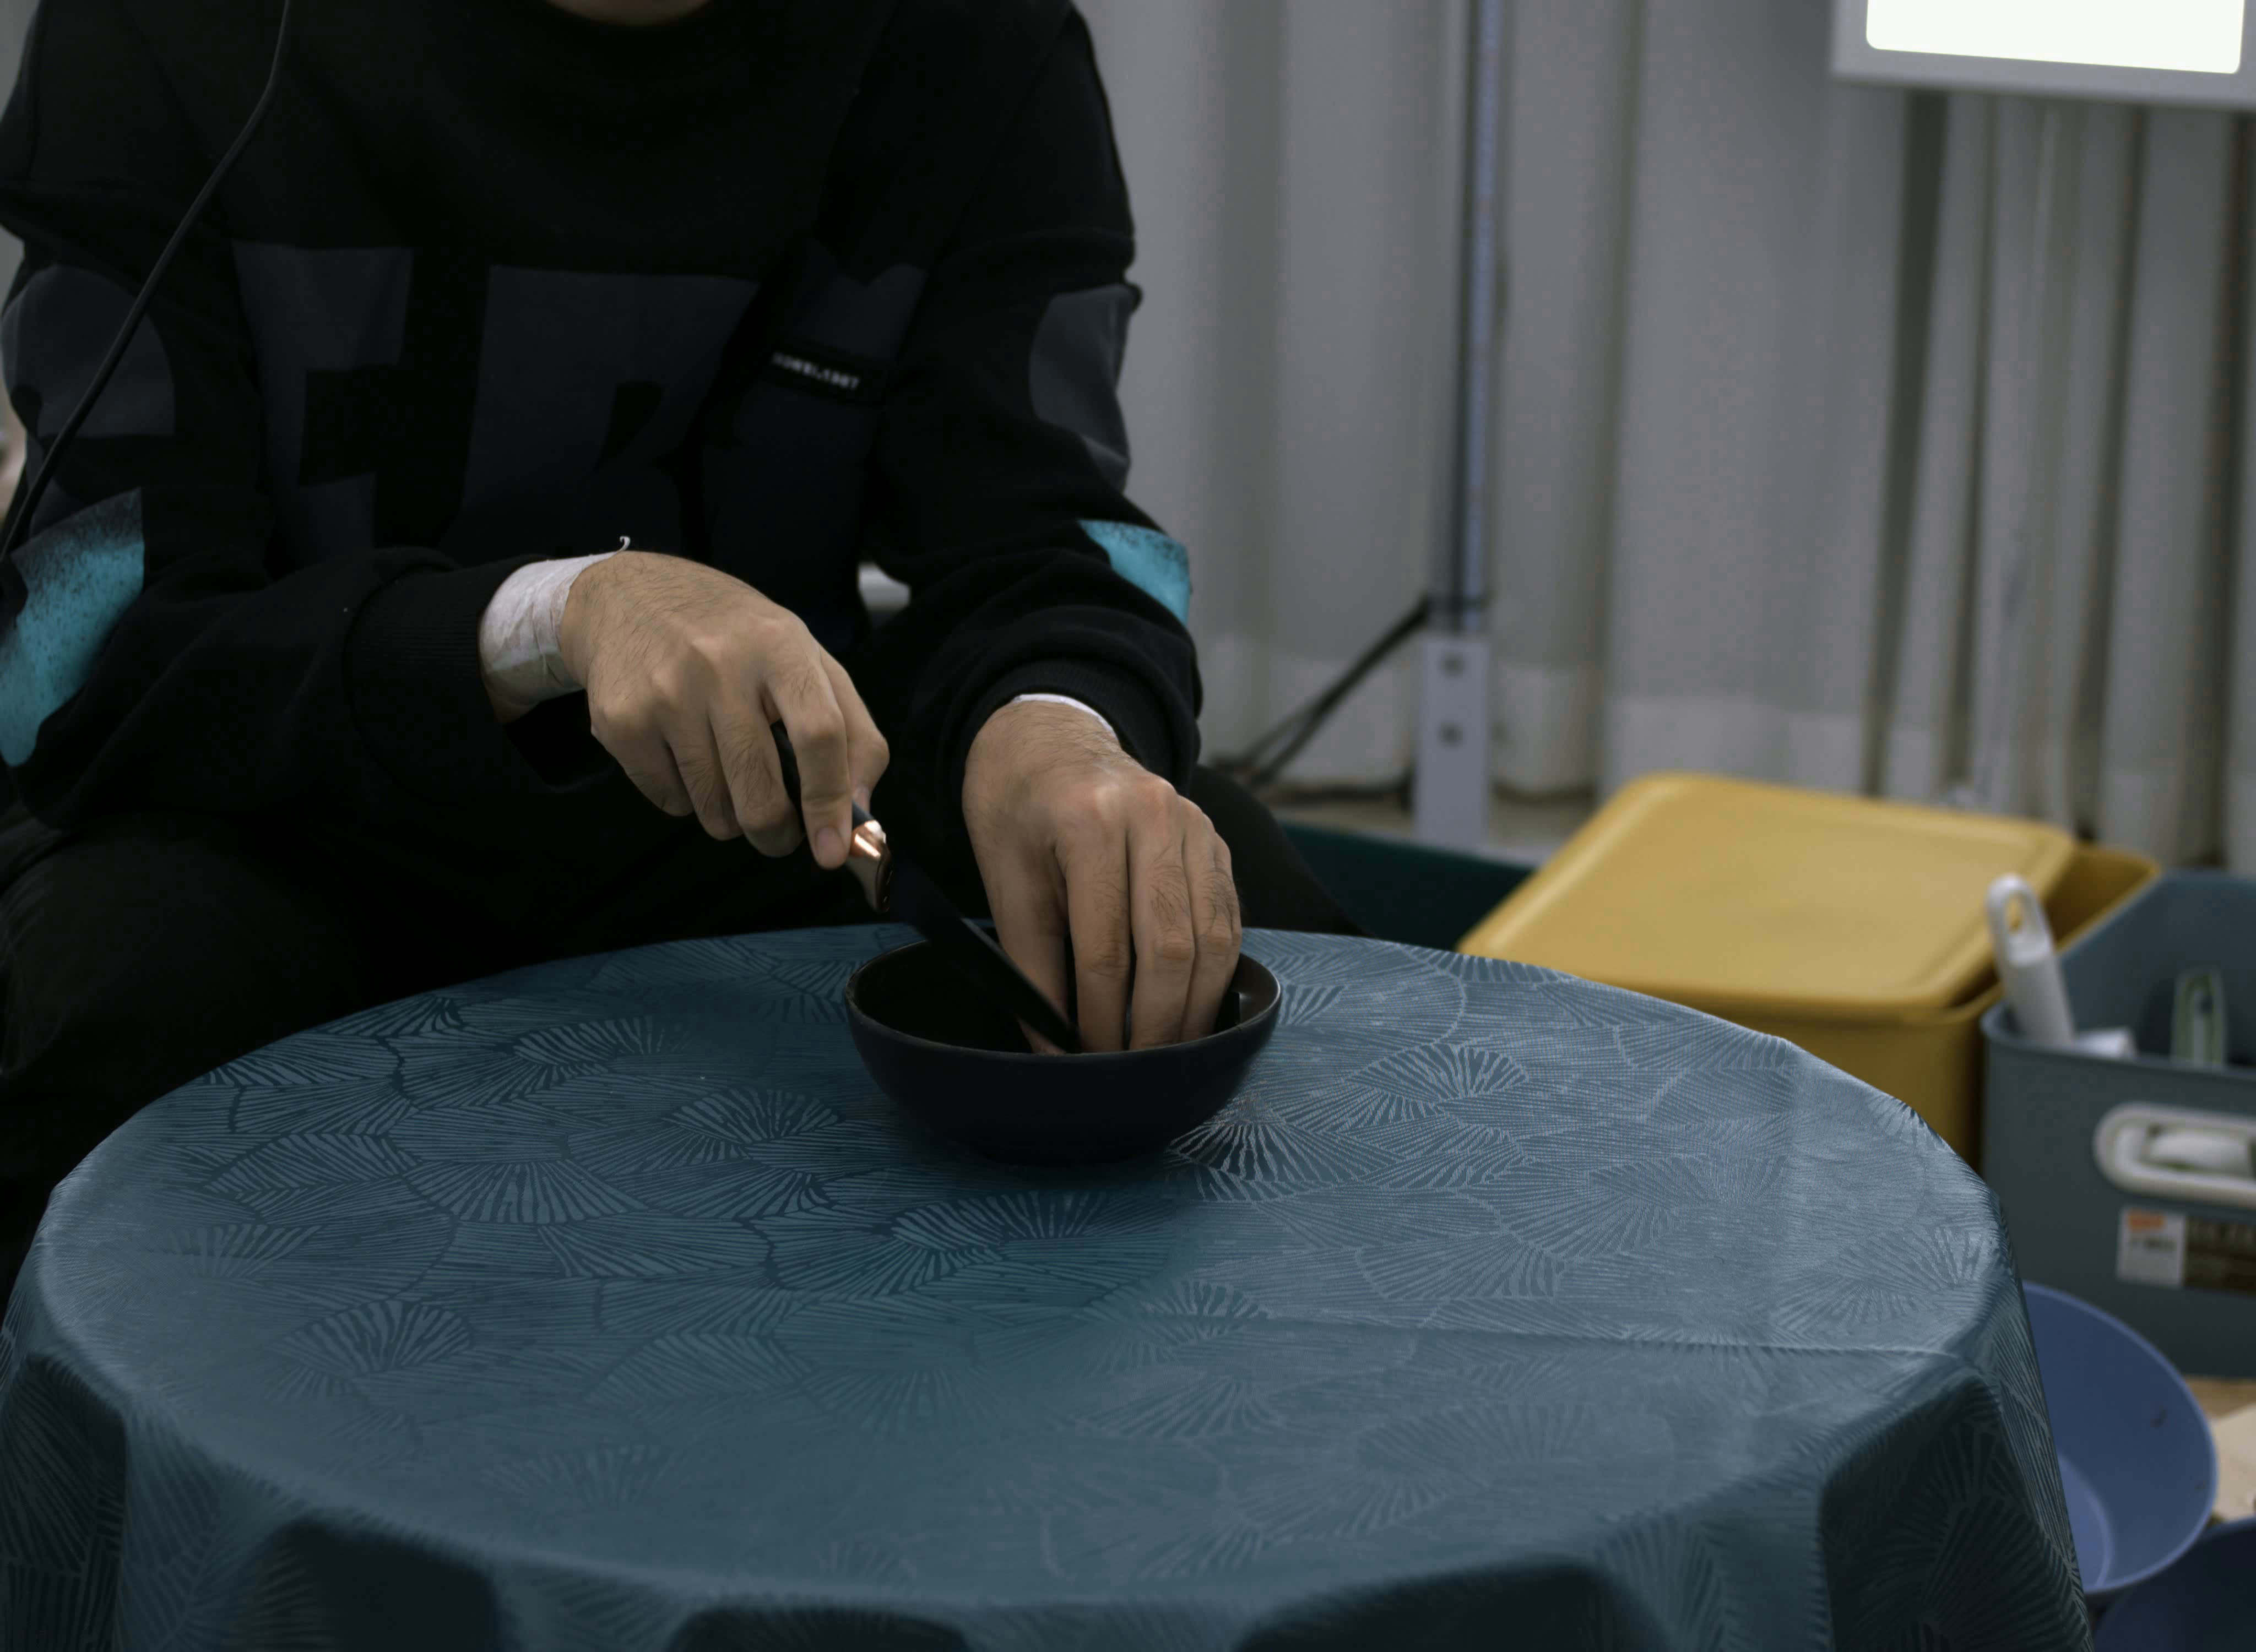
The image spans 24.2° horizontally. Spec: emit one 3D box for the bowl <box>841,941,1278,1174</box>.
[{"bbox_3d":[-0.020,0.077,1.668,0.139,0.050,0.139,-3,13,1],"label":"bowl"}]

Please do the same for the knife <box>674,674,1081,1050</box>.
[{"bbox_3d":[-0.074,0.019,1.686,0.017,0.026,0.223,-25,53,-36],"label":"knife"}]
